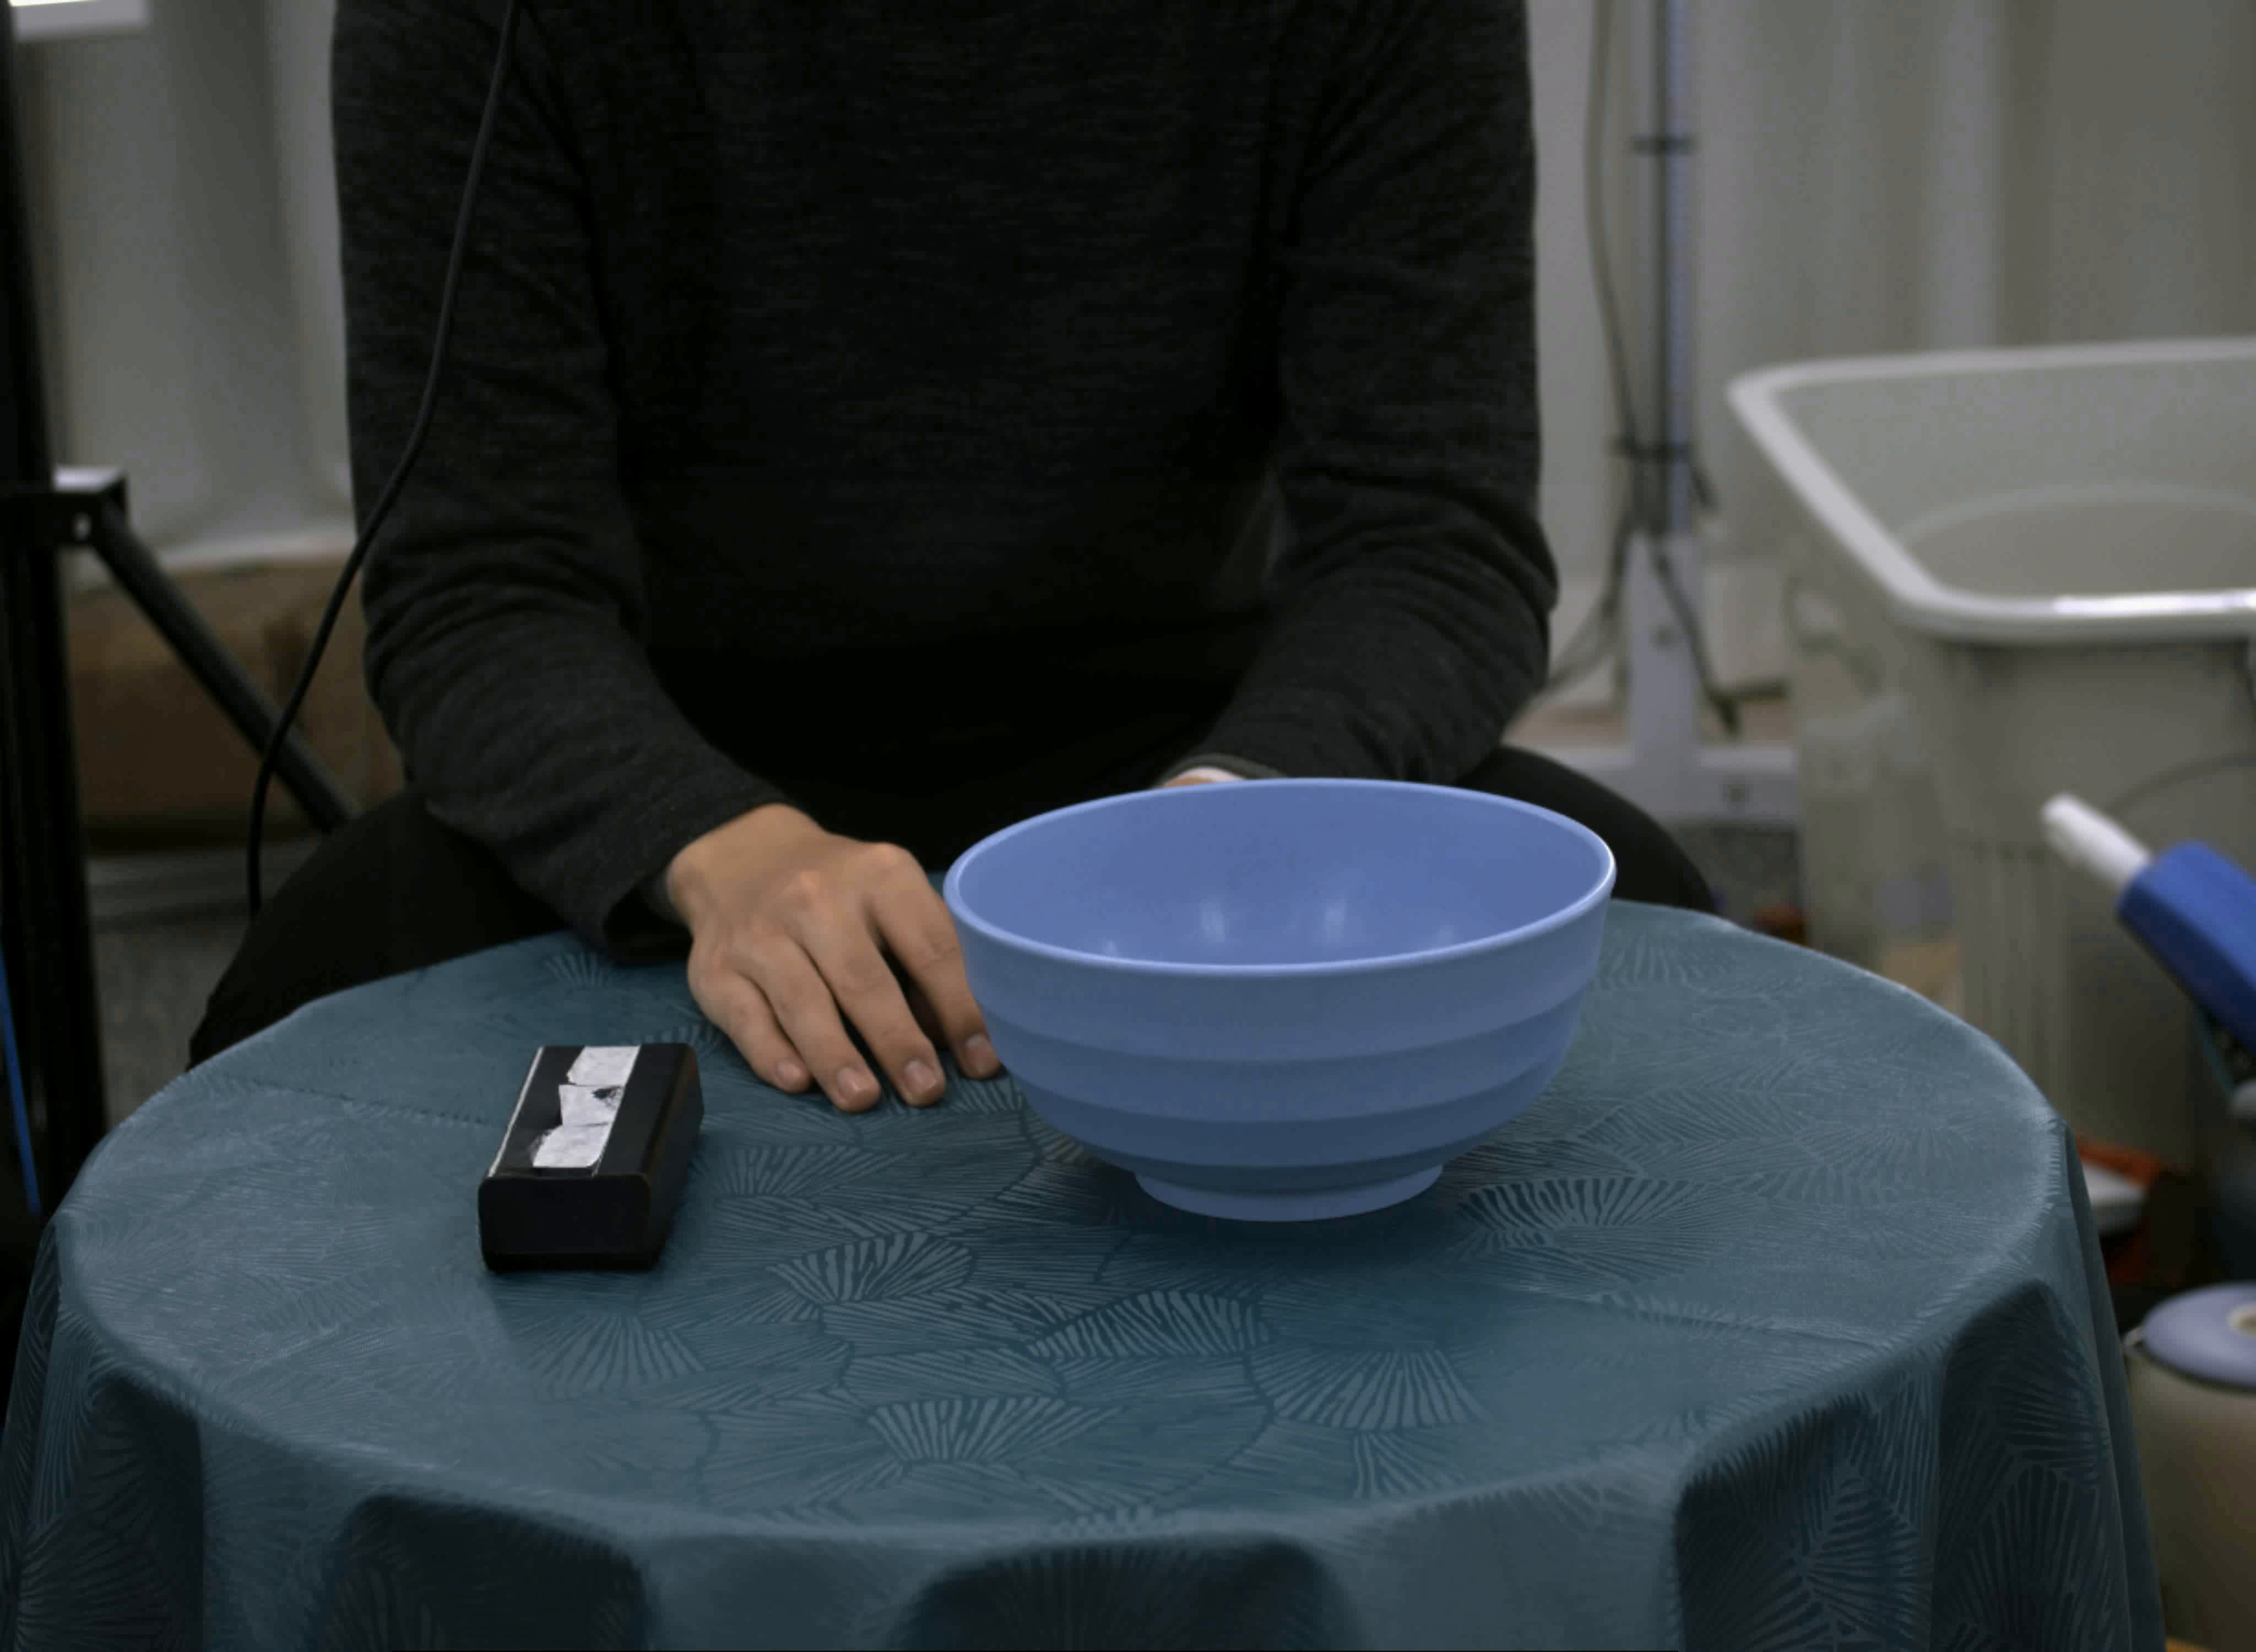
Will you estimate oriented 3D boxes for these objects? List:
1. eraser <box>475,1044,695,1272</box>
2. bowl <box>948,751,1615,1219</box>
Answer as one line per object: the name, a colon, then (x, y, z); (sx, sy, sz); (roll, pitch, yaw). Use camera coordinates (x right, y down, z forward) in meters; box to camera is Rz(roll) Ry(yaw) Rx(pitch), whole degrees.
eraser: (-0.158, 0.097, 1.569); (0.053, 0.030, 0.126); (1, 15, 0)
bowl: (0.050, 0.054, 1.564); (0.196, 0.095, 0.197); (-8, 18, 1)
